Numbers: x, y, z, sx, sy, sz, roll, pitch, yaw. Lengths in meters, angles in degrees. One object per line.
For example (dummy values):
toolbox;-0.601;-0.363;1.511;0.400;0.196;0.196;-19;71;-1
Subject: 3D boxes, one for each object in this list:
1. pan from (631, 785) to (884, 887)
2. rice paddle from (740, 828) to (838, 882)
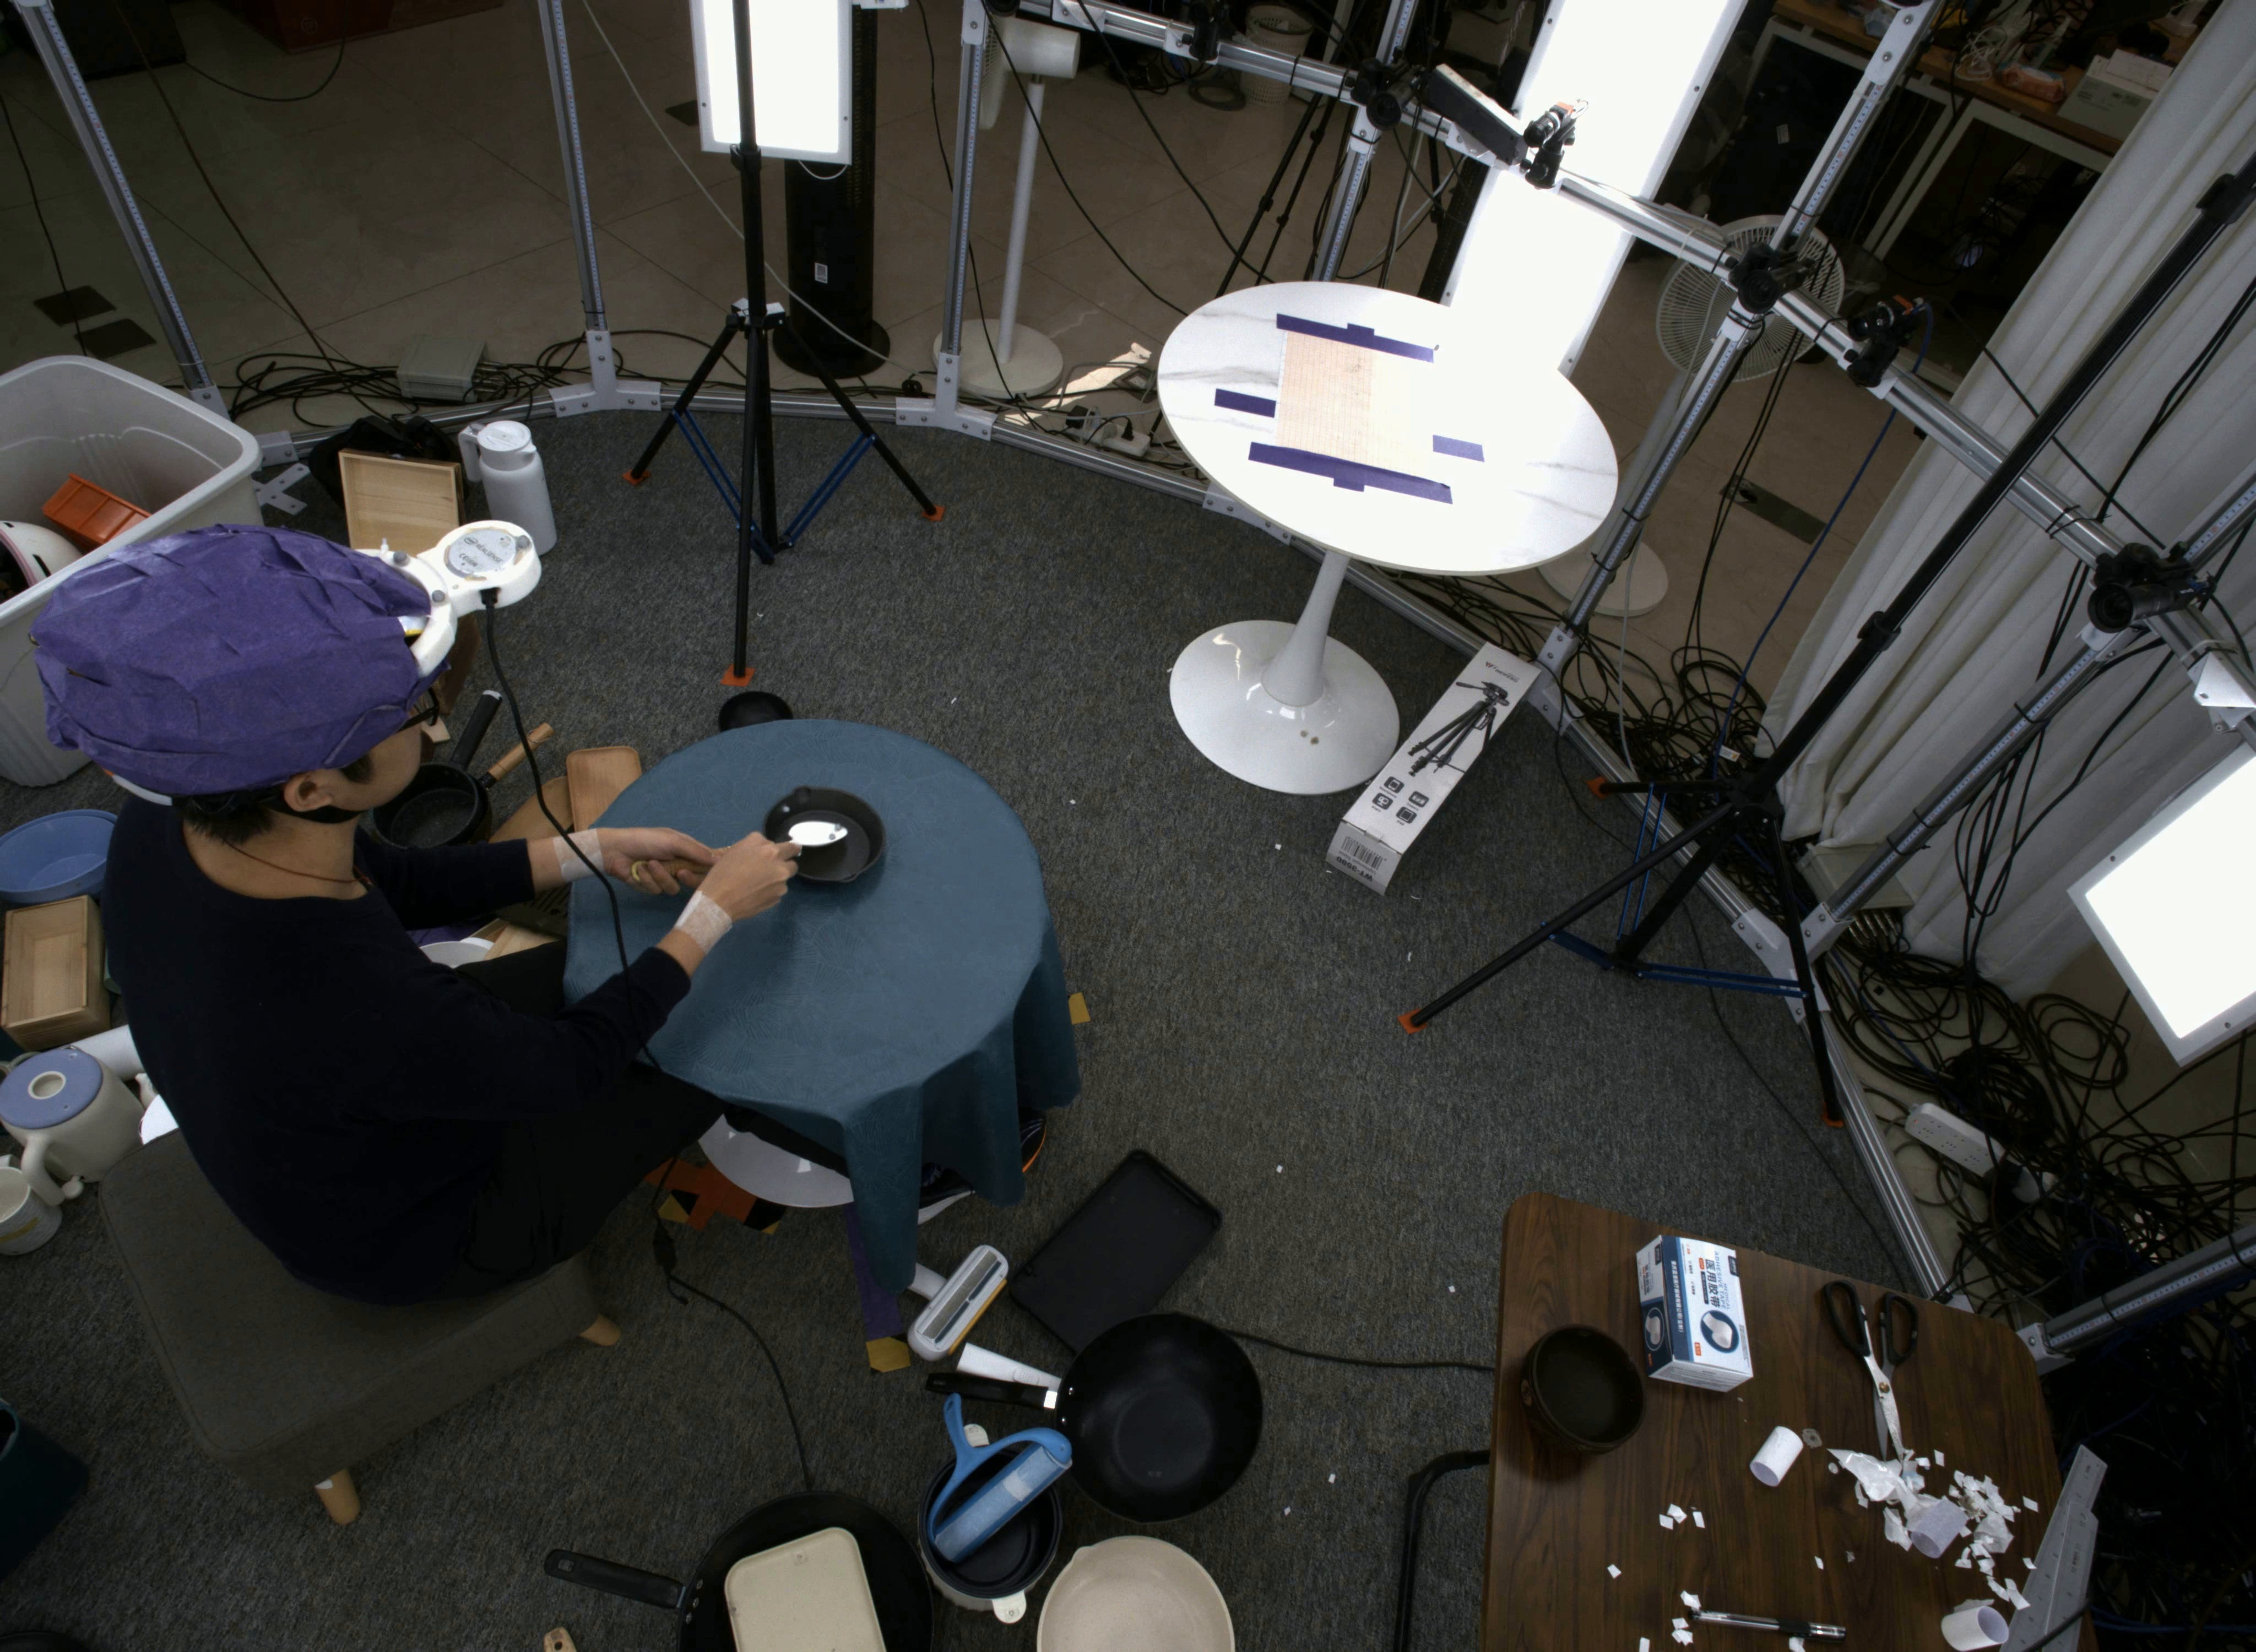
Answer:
pan;-0.465;0.030;1.629;0.327;0.050;0.164;-13;57;-32
rice paddle;-0.420;0.026;1.608;0.067;0.030;0.204;13;15;8
